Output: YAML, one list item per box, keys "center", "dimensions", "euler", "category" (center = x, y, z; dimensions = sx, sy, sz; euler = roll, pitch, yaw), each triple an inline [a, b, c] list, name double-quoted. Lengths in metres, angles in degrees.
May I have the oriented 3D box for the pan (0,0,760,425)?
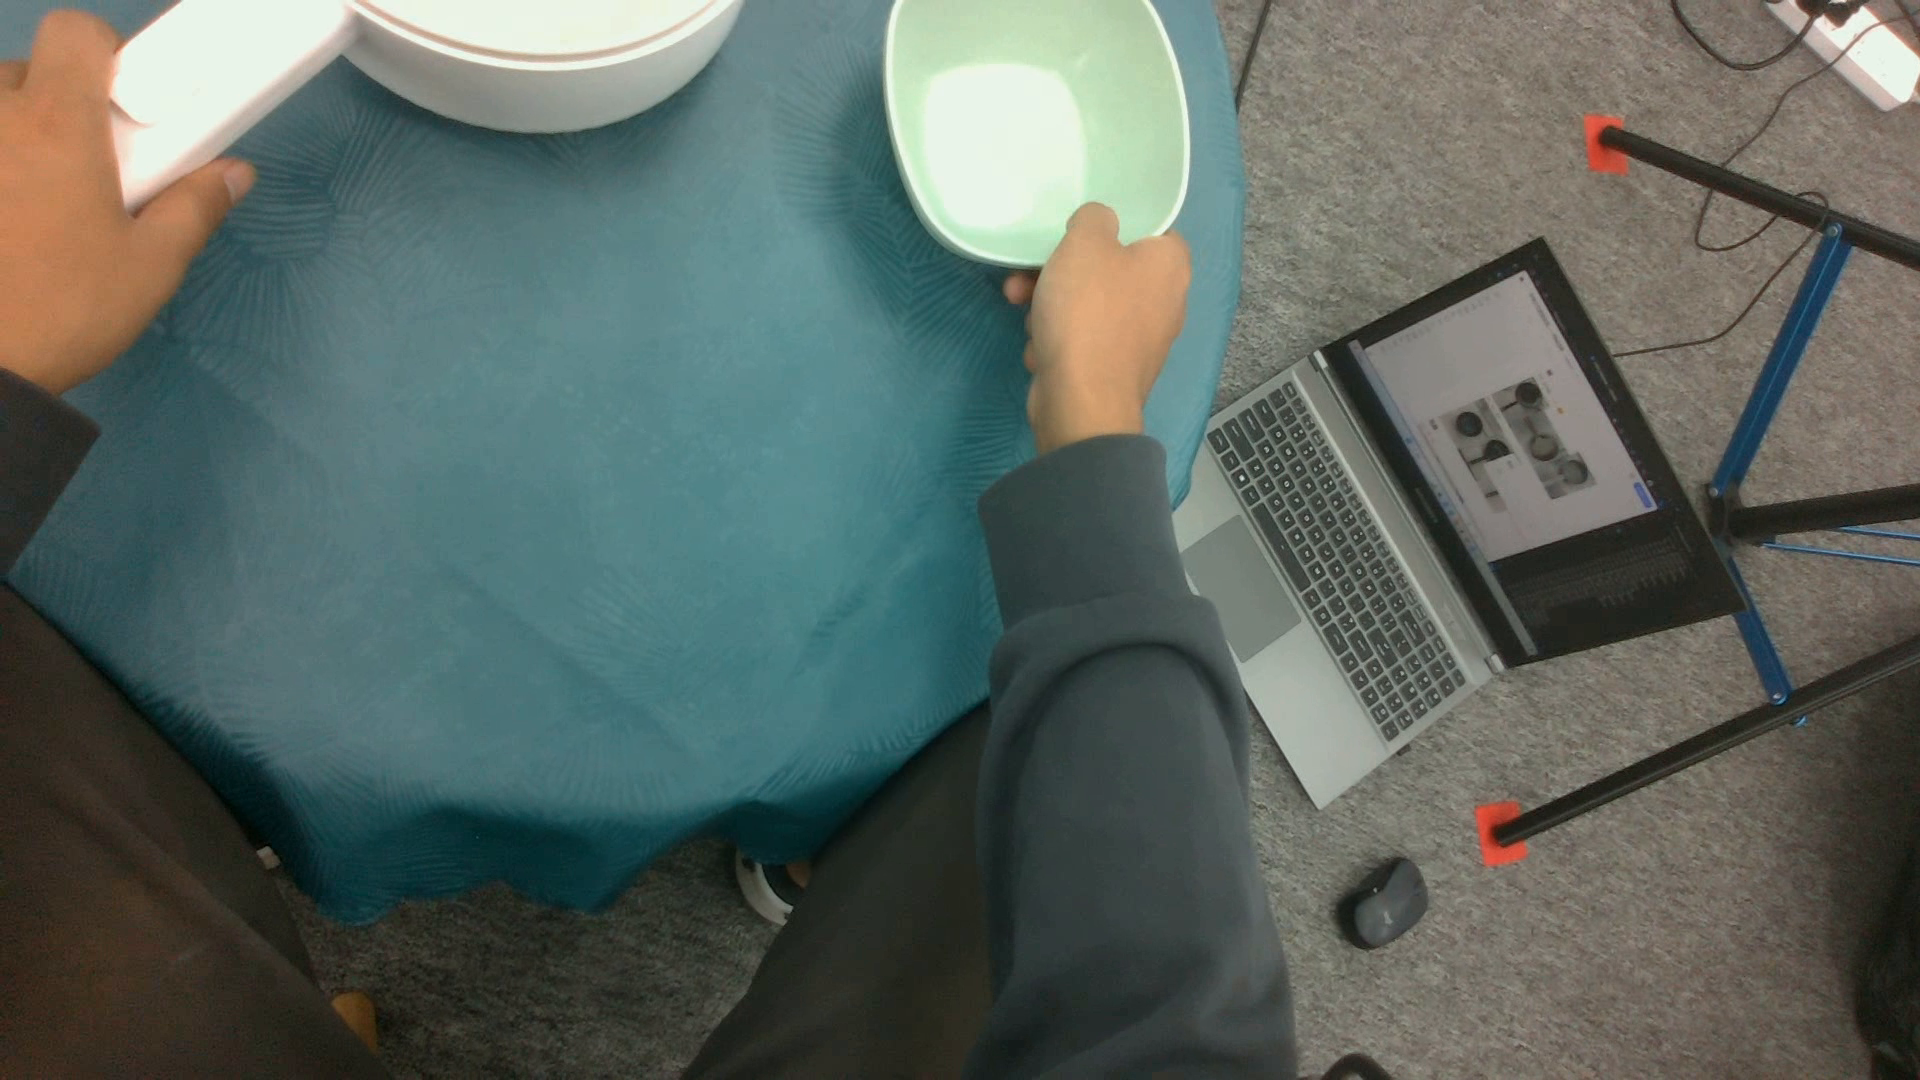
- center: [-0.230, -0.183, 0.544]
  dimensions: [0.201, 0.102, 0.356]
  euler: [41, 75, -10]
  category: "pan"

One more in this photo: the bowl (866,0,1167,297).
- center: [0.020, -0.172, 0.638]
  dimensions: [0.151, 0.058, 0.151]
  euler: [3, 80, -17]
  category: "bowl"
